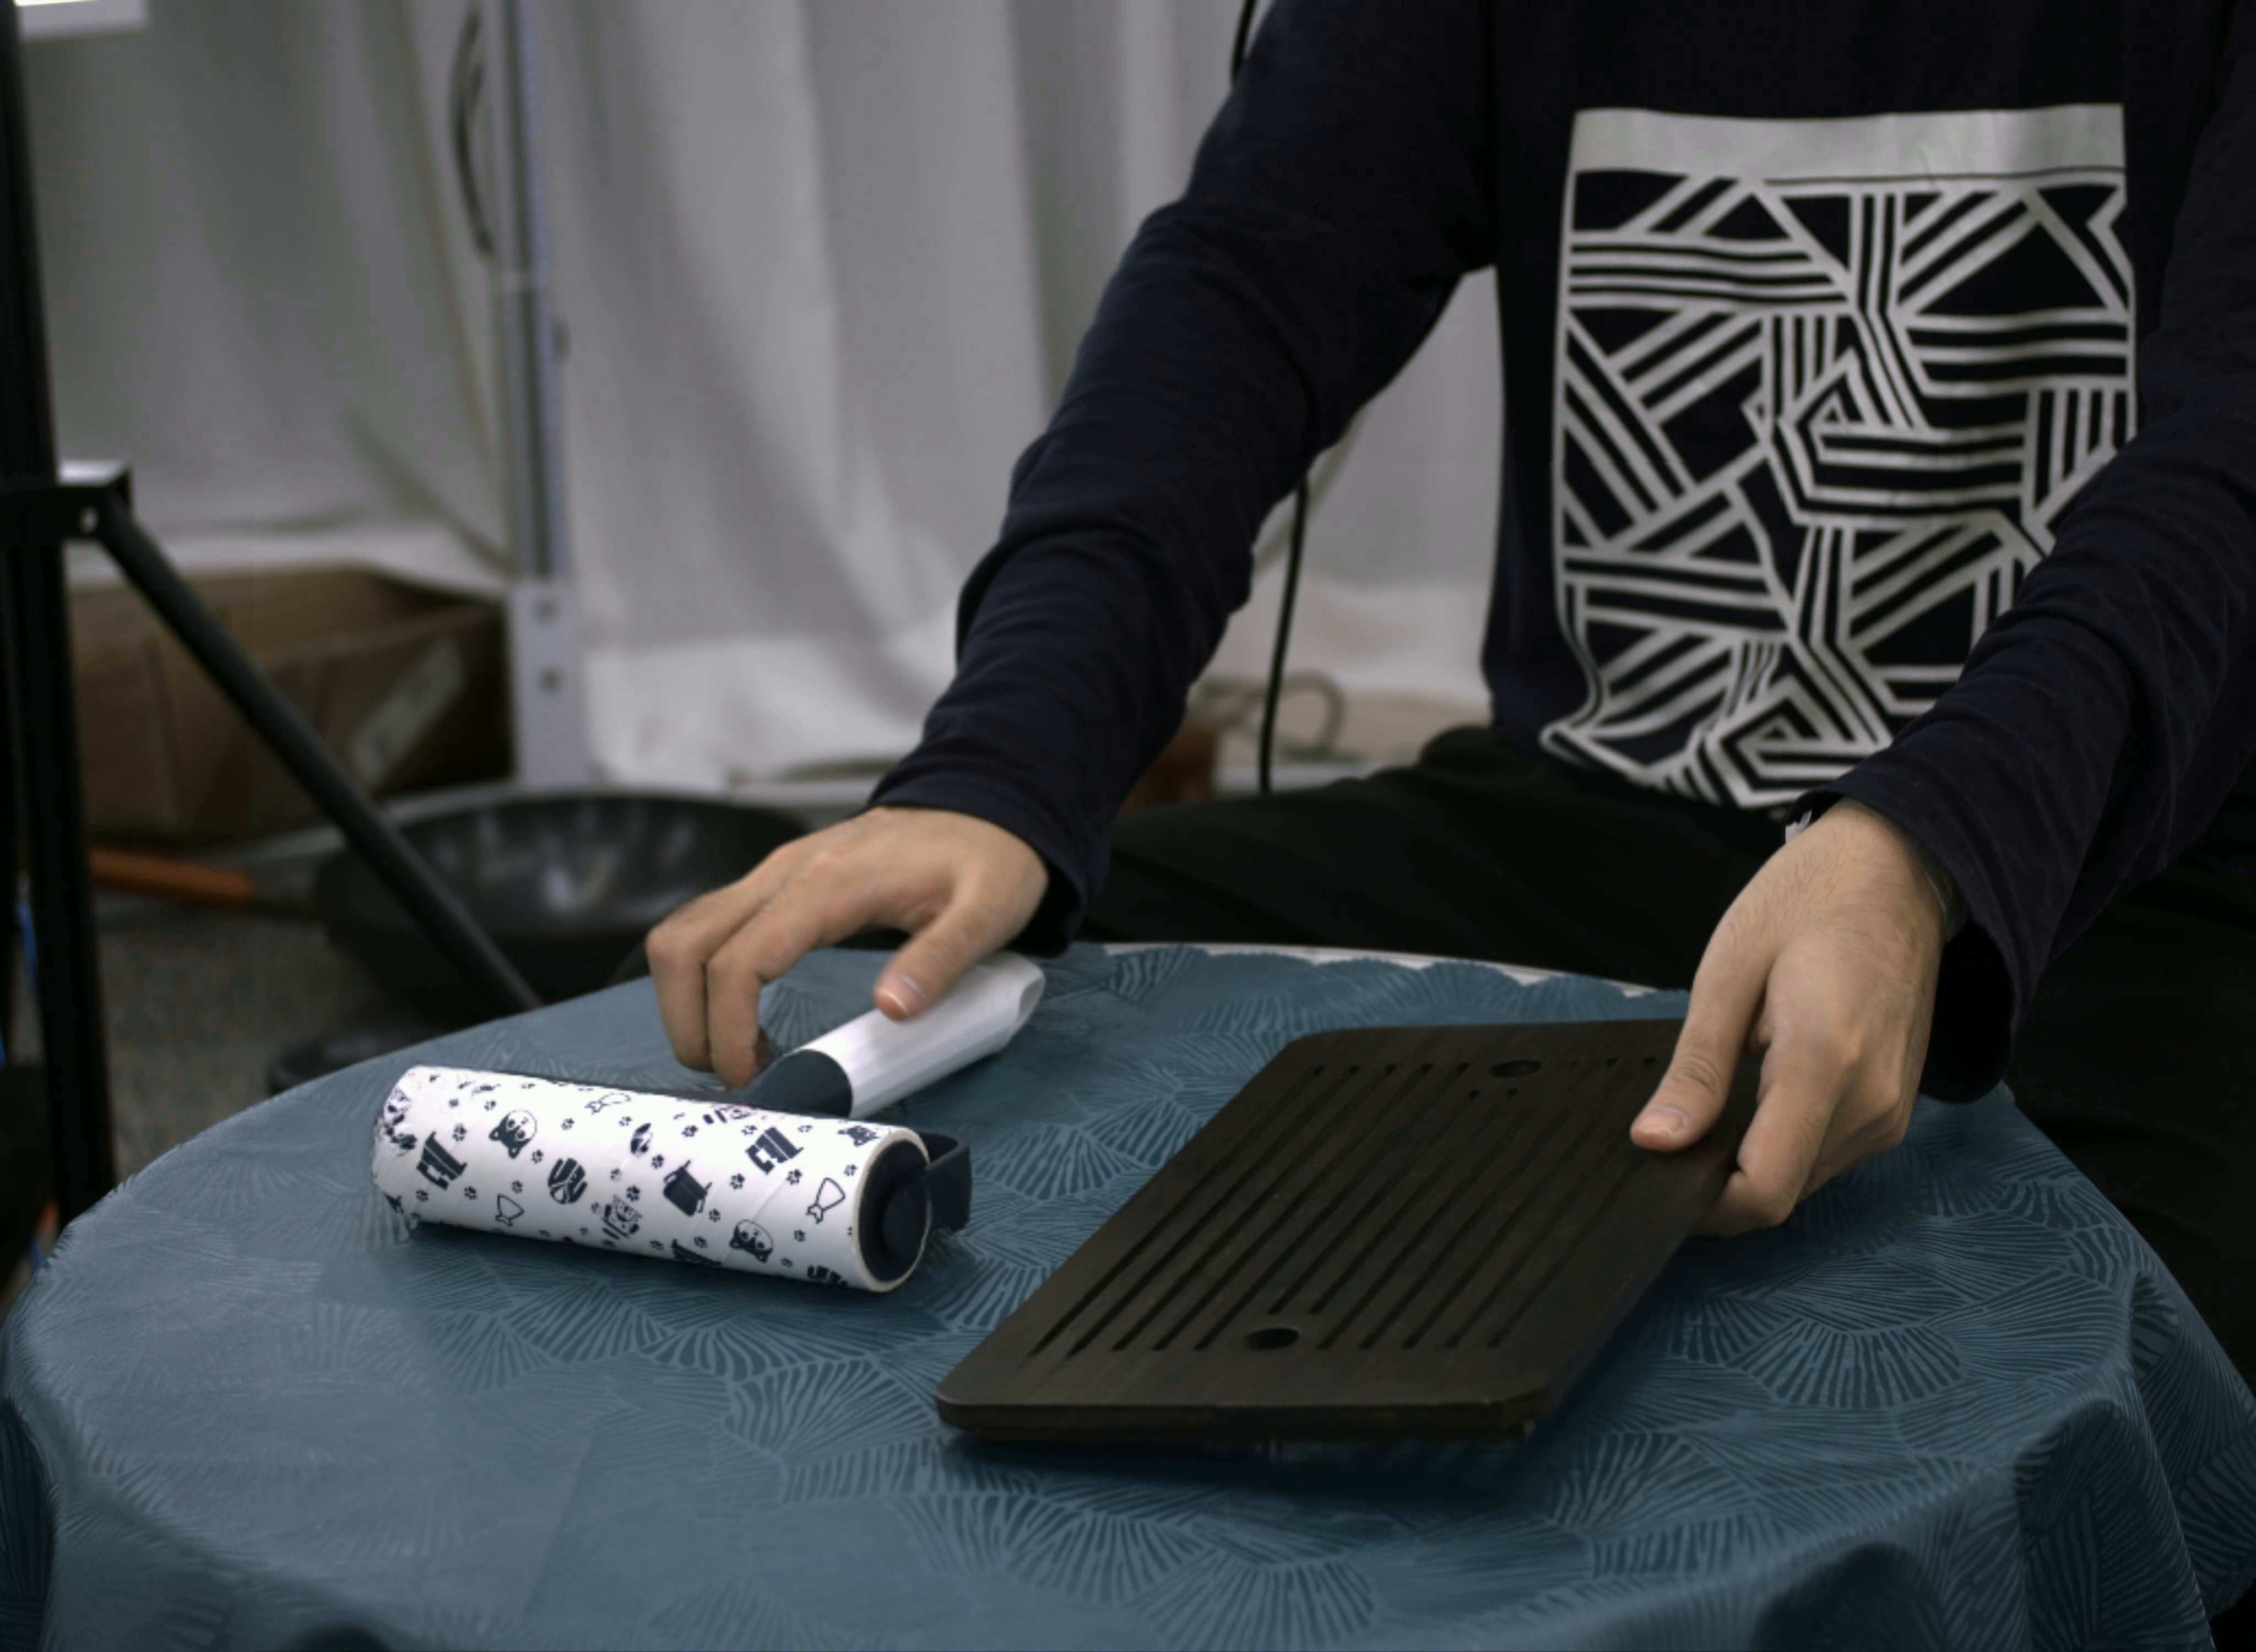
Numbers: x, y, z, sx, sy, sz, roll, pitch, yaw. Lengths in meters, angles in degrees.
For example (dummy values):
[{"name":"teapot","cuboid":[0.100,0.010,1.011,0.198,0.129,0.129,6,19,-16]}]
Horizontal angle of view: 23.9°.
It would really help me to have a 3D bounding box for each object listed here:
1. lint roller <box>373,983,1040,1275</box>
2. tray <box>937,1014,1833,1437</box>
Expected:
[{"name":"lint roller","cuboid":[-0.092,0.077,1.613,0.179,0.050,0.243,5,14,27]},{"name":"tray","cuboid":[0.080,0.109,1.467,0.172,0.018,0.302,-4,14,24]}]
